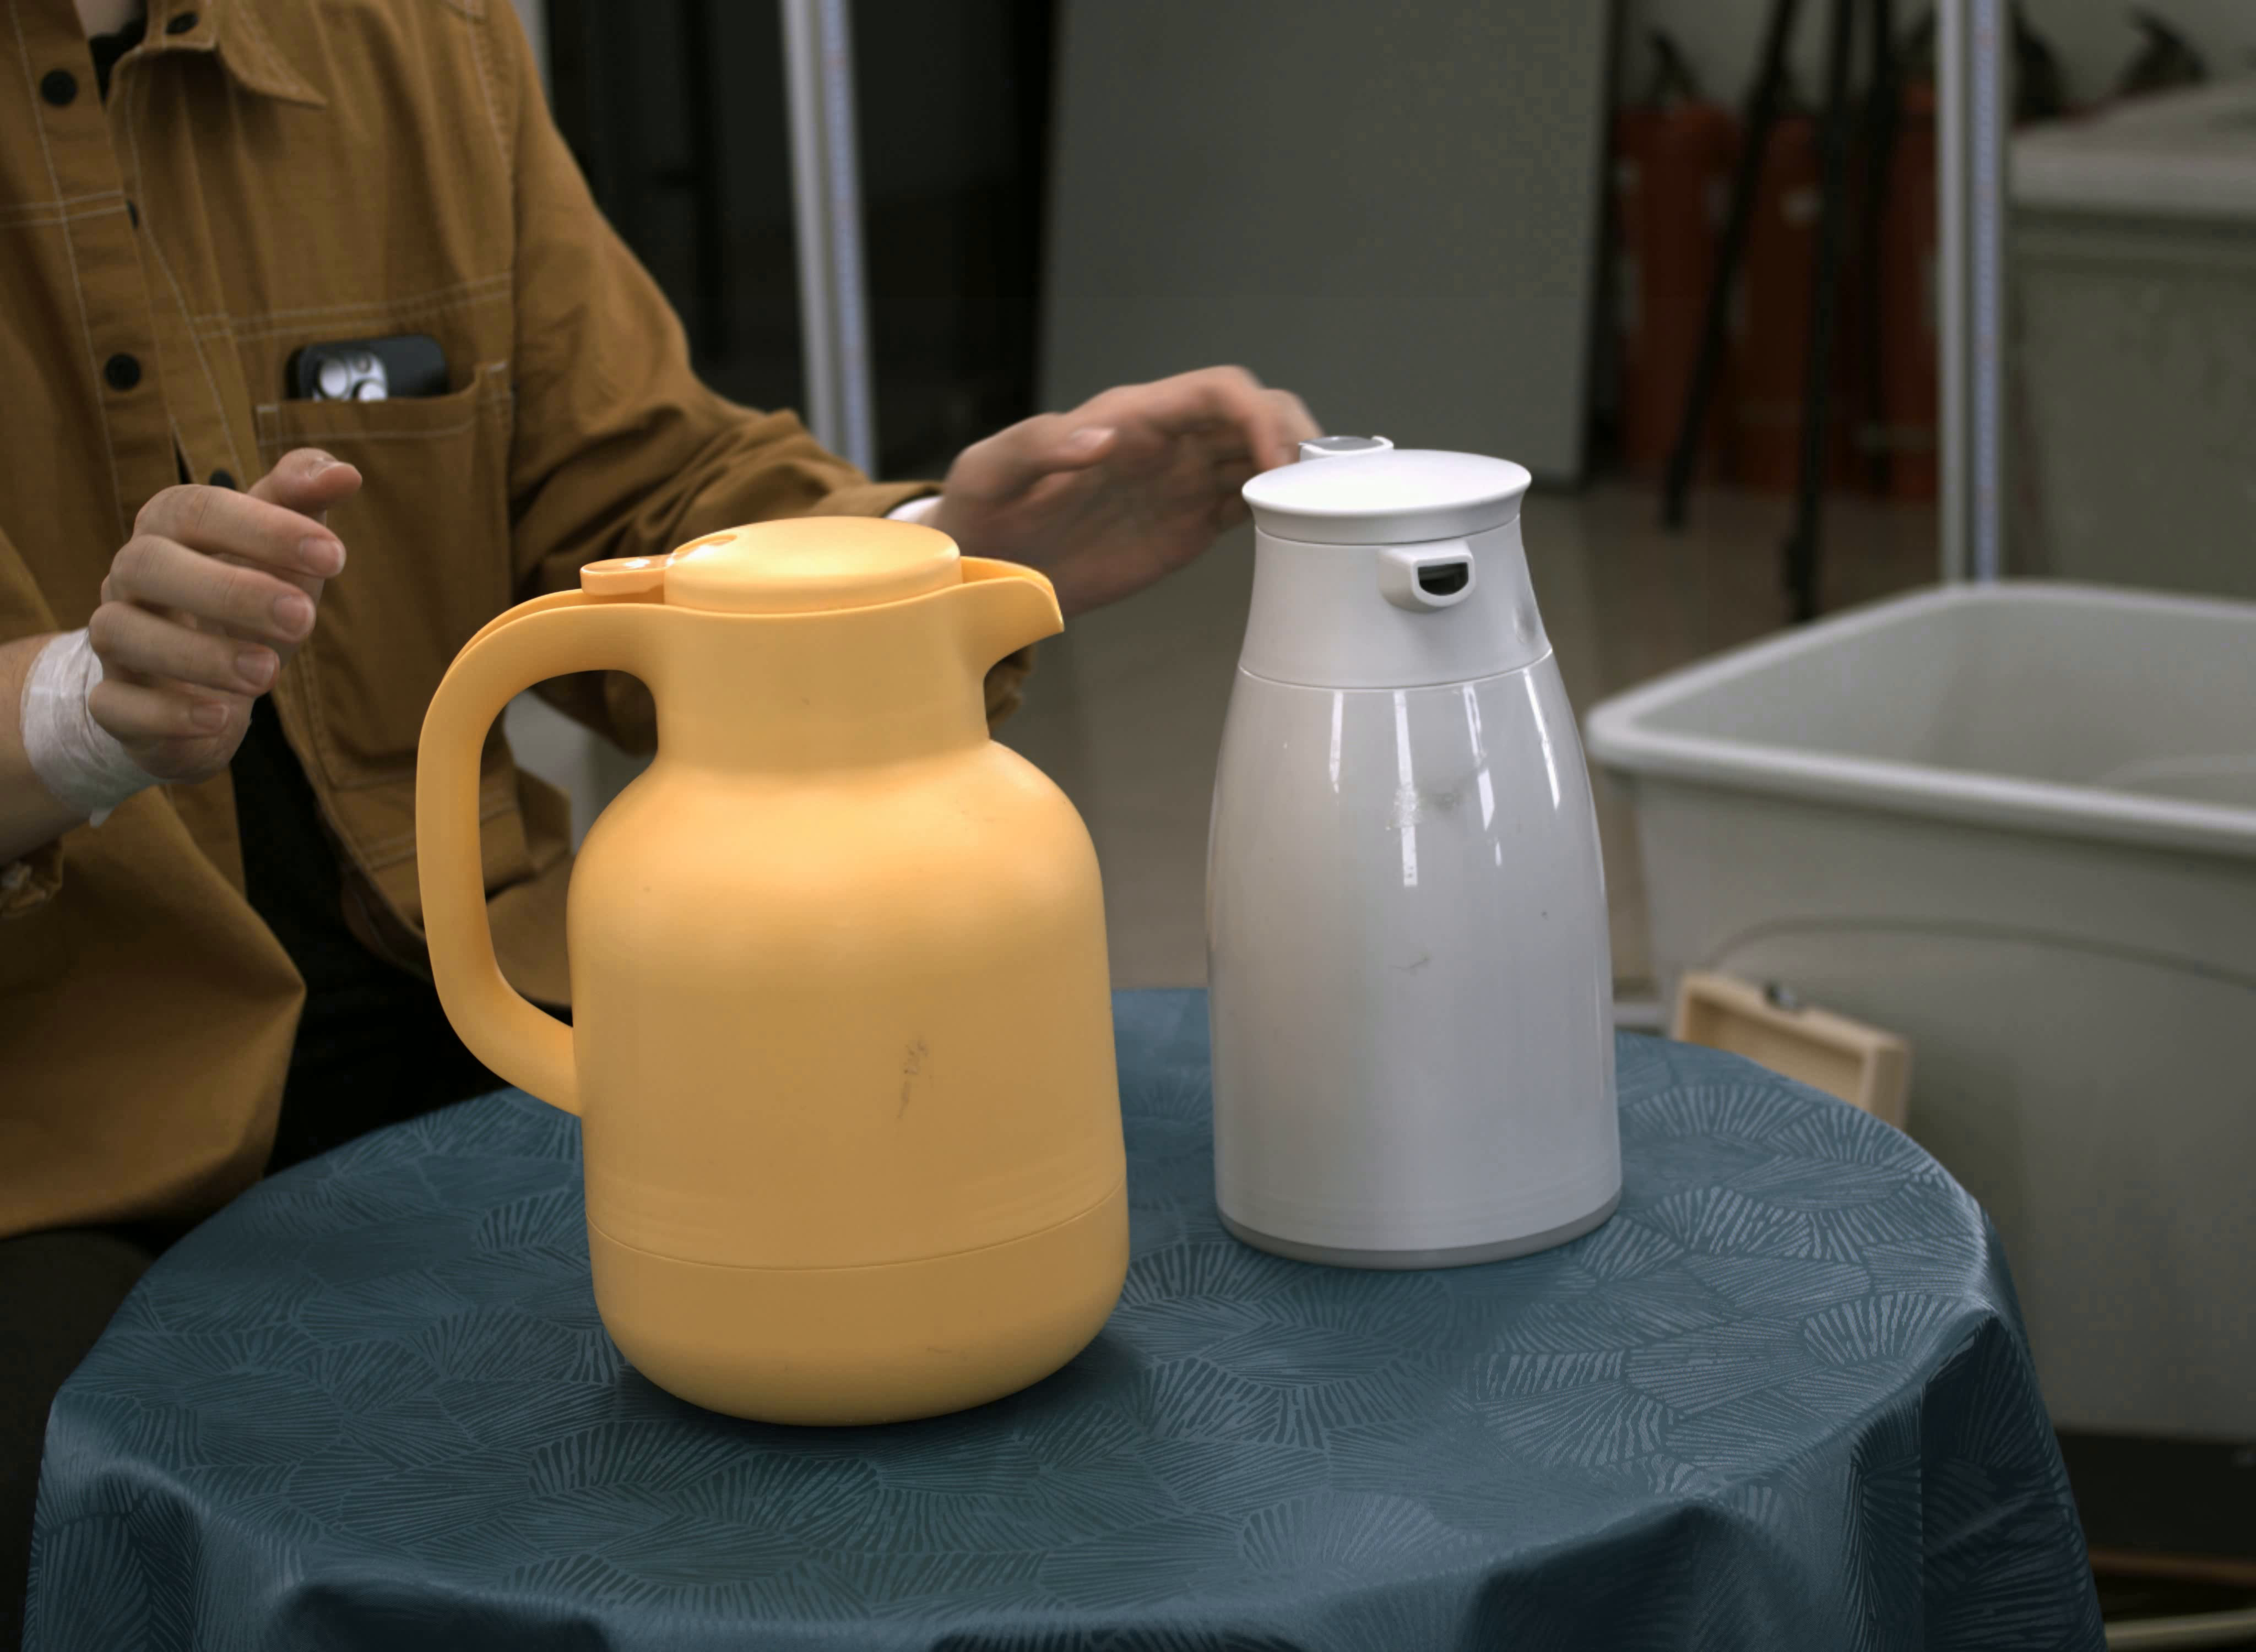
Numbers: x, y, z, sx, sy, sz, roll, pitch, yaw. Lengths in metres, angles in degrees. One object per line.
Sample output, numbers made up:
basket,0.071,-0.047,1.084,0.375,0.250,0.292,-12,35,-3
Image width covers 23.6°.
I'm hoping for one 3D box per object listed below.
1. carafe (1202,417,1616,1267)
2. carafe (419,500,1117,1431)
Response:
carafe,0.080,-0.003,1.729,0.130,0.251,0.169,-7,13,-12
carafe,-0.106,0.037,1.601,0.200,0.263,0.163,-2,12,4
